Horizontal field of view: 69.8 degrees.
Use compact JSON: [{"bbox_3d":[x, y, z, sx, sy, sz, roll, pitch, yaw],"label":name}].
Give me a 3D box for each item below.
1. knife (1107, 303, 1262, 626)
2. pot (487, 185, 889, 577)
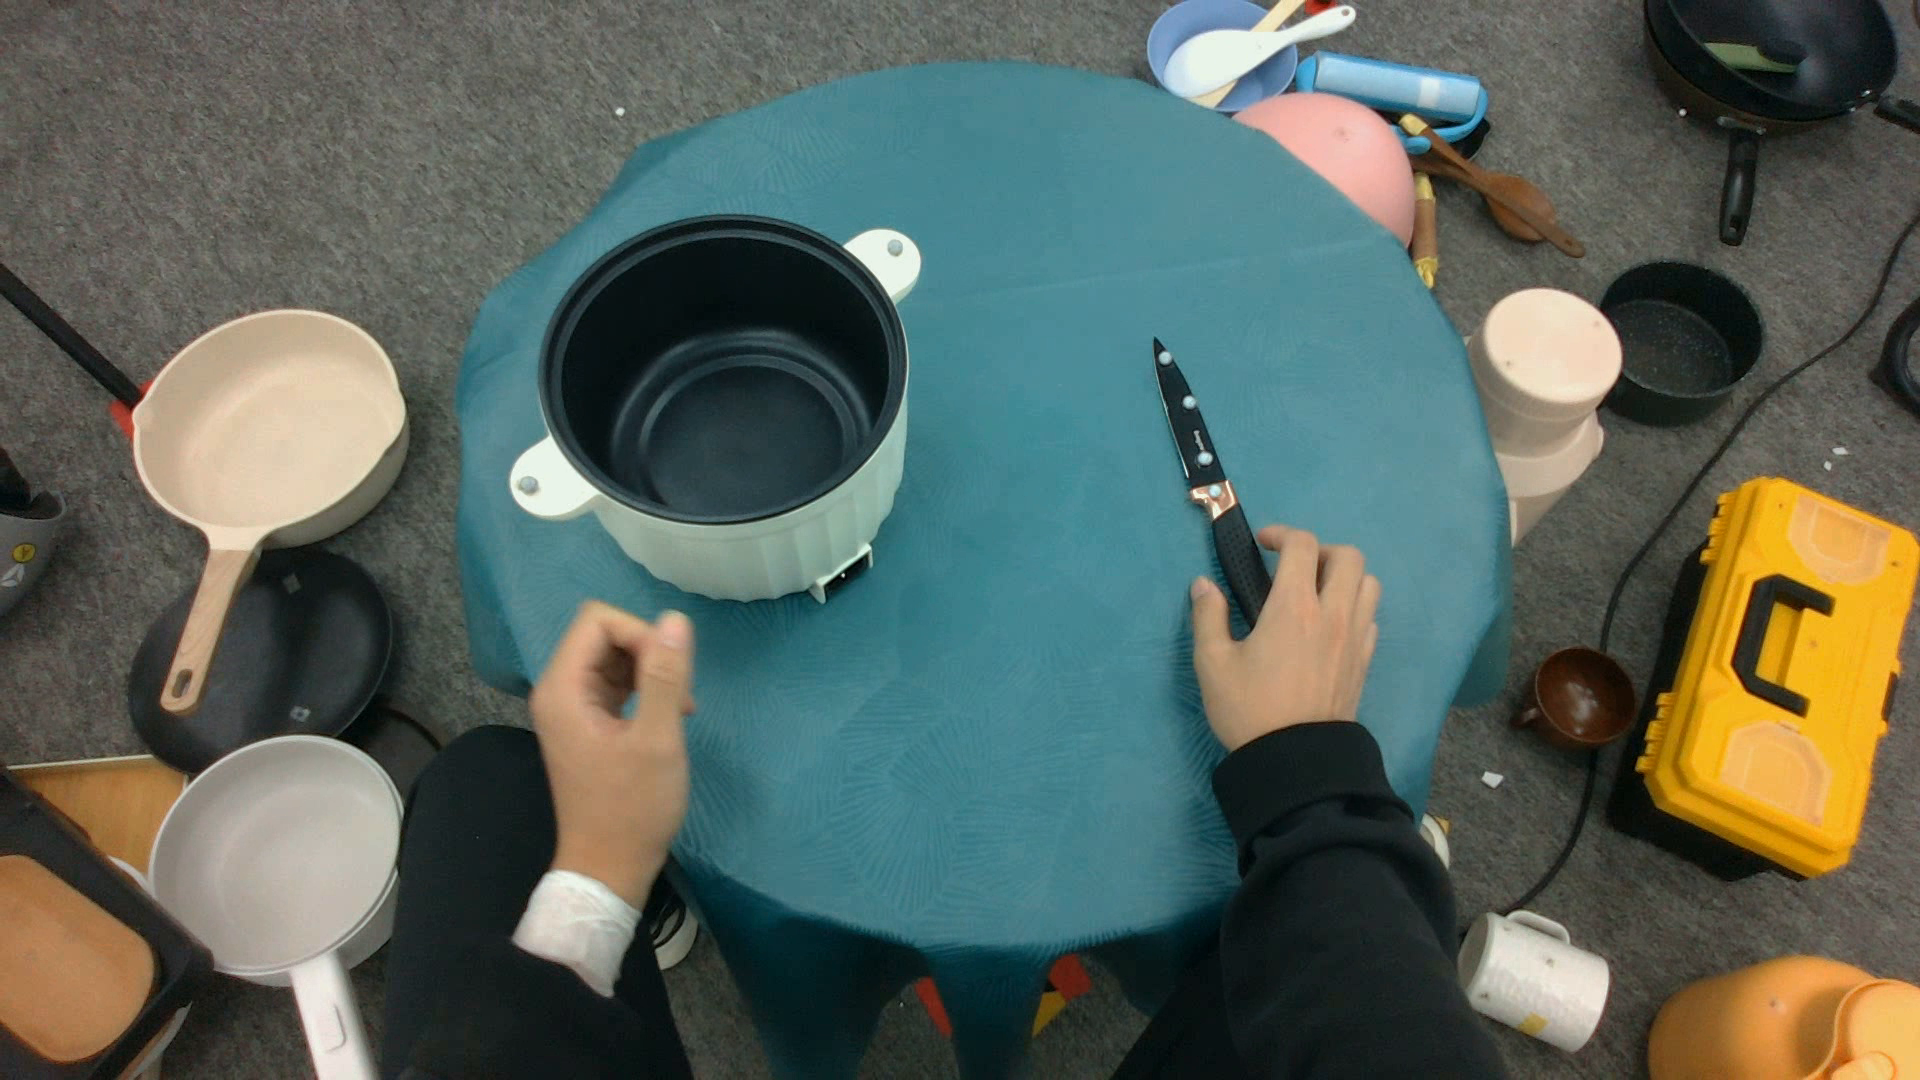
[{"bbox_3d":[0.130,-0.051,0.810,0.026,0.017,0.226,-20,66,6],"label":"knife"},{"bbox_3d":[-0.137,-0.078,0.738,0.241,0.142,0.190,-39,76,-19],"label":"pot"}]
